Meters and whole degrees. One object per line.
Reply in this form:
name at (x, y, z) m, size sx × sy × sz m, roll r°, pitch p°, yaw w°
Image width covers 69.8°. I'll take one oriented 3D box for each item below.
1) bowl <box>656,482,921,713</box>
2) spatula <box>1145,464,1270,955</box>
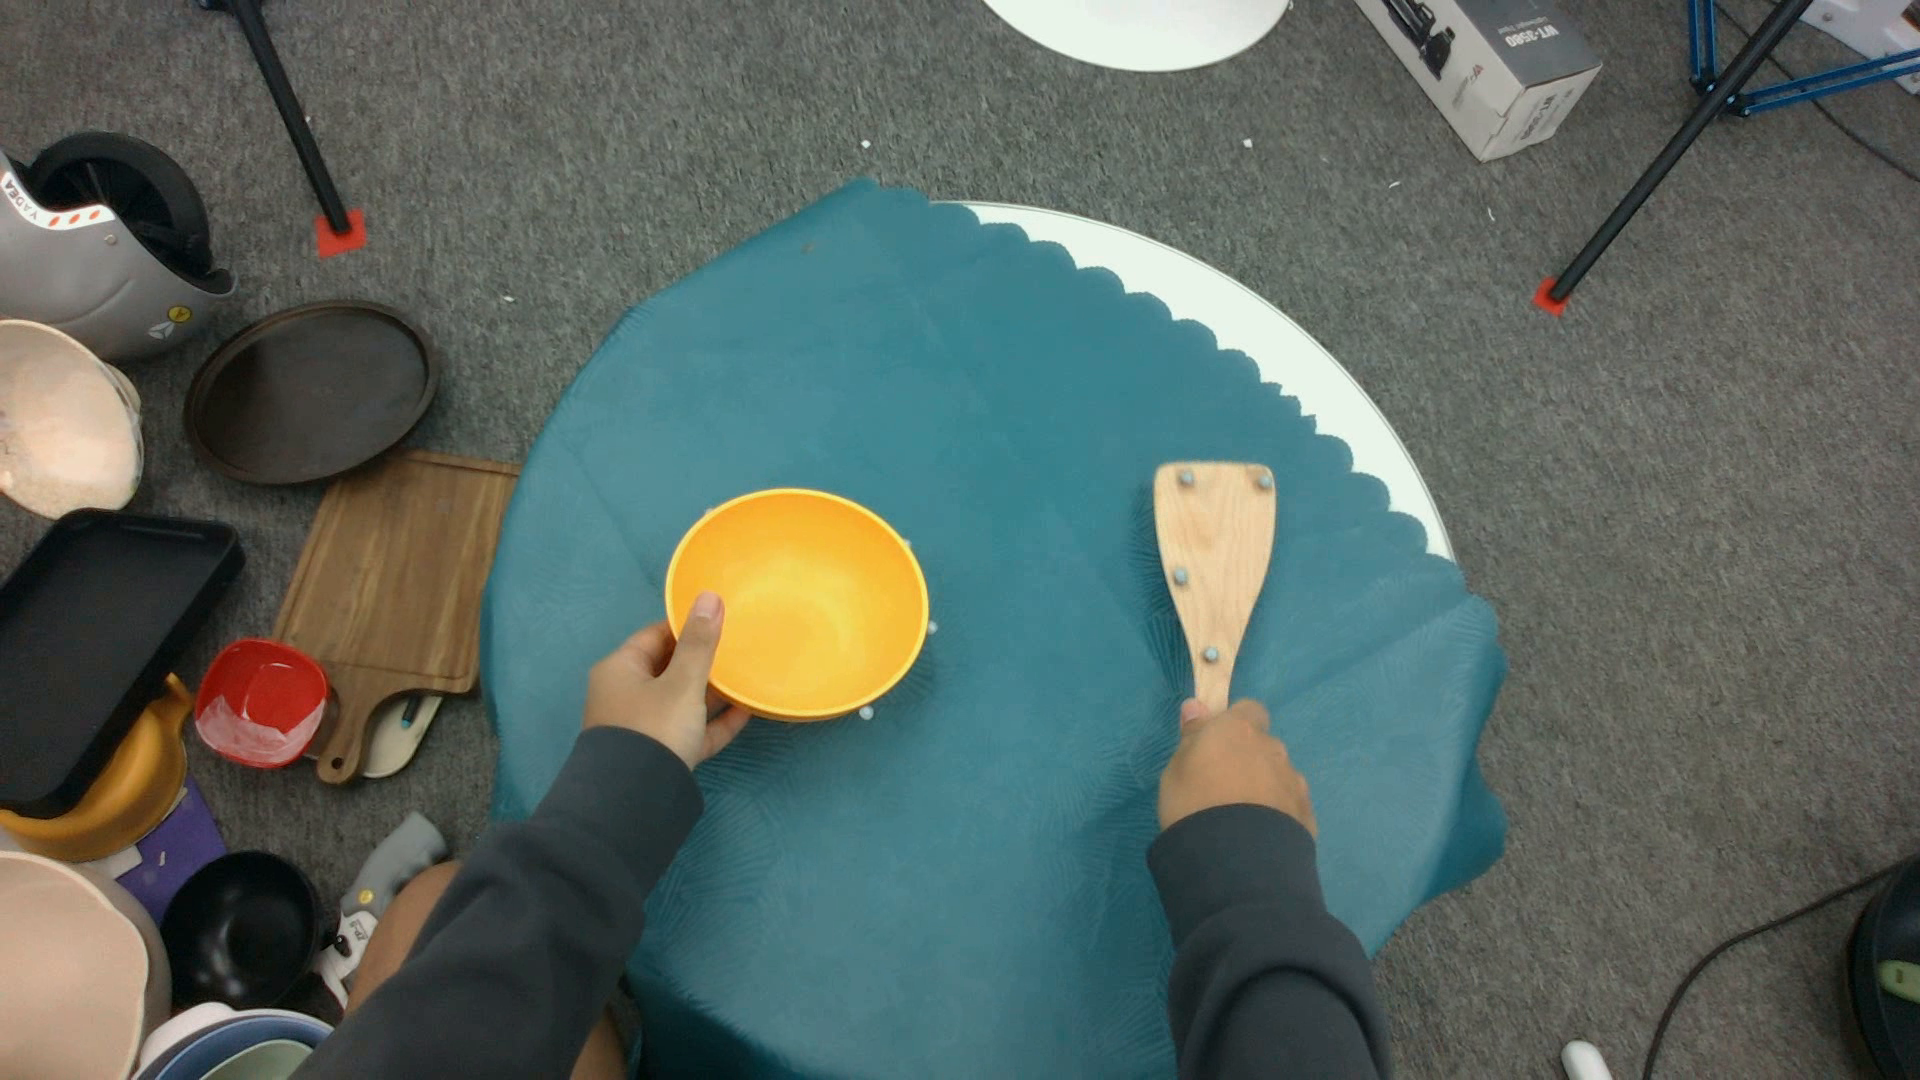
bowl at (-0.097, 0.041, 0.772) m, size 0.145 × 0.060 × 0.146 m, roll 7°, pitch 54°, yaw -9°
spatula at (0.138, 0.078, 0.790) m, size 0.080 × 0.016 × 0.329 m, roll 9°, pitch 51°, yaw 1°
